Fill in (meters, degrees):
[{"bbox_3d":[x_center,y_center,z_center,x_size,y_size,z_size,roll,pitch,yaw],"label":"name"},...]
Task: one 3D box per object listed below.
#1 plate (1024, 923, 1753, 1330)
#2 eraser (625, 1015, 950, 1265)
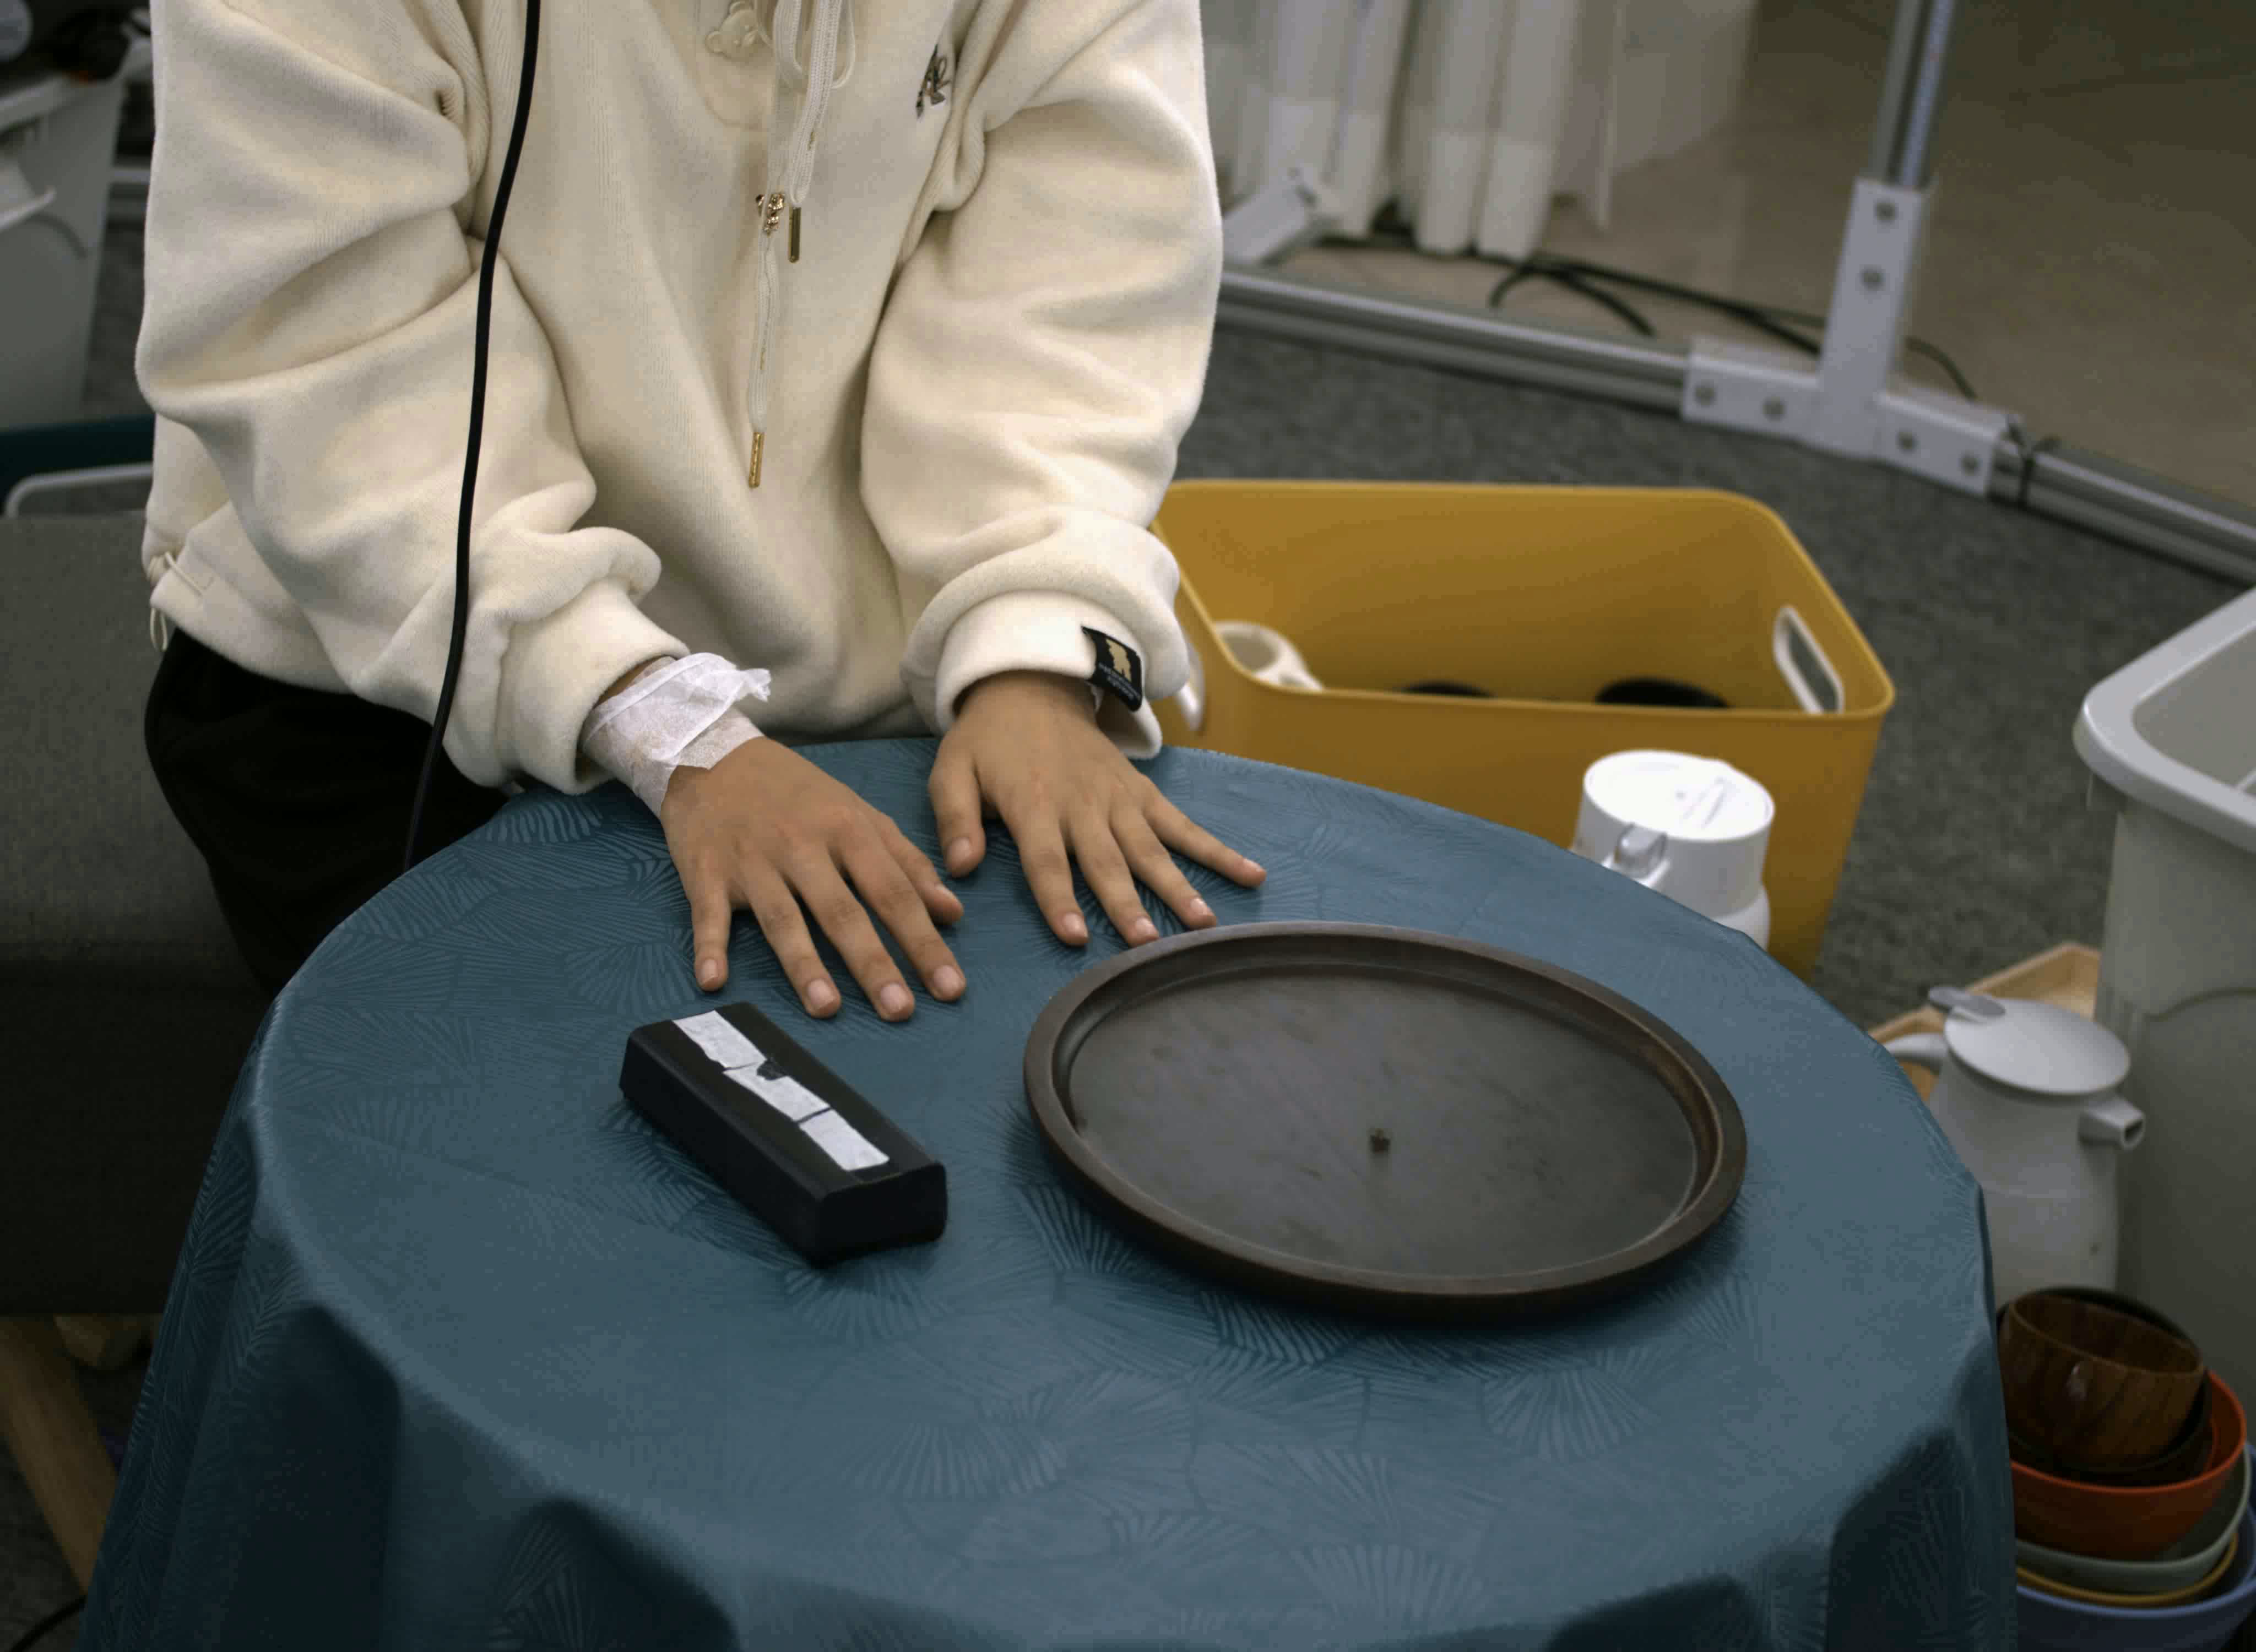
[{"bbox_3d":[0.089,0.101,1.839,0.254,0.029,0.256,5,28,-3],"label":"plate"},{"bbox_3d":[-0.115,0.104,1.785,0.053,0.030,0.126,-11,30,-35],"label":"eraser"}]
